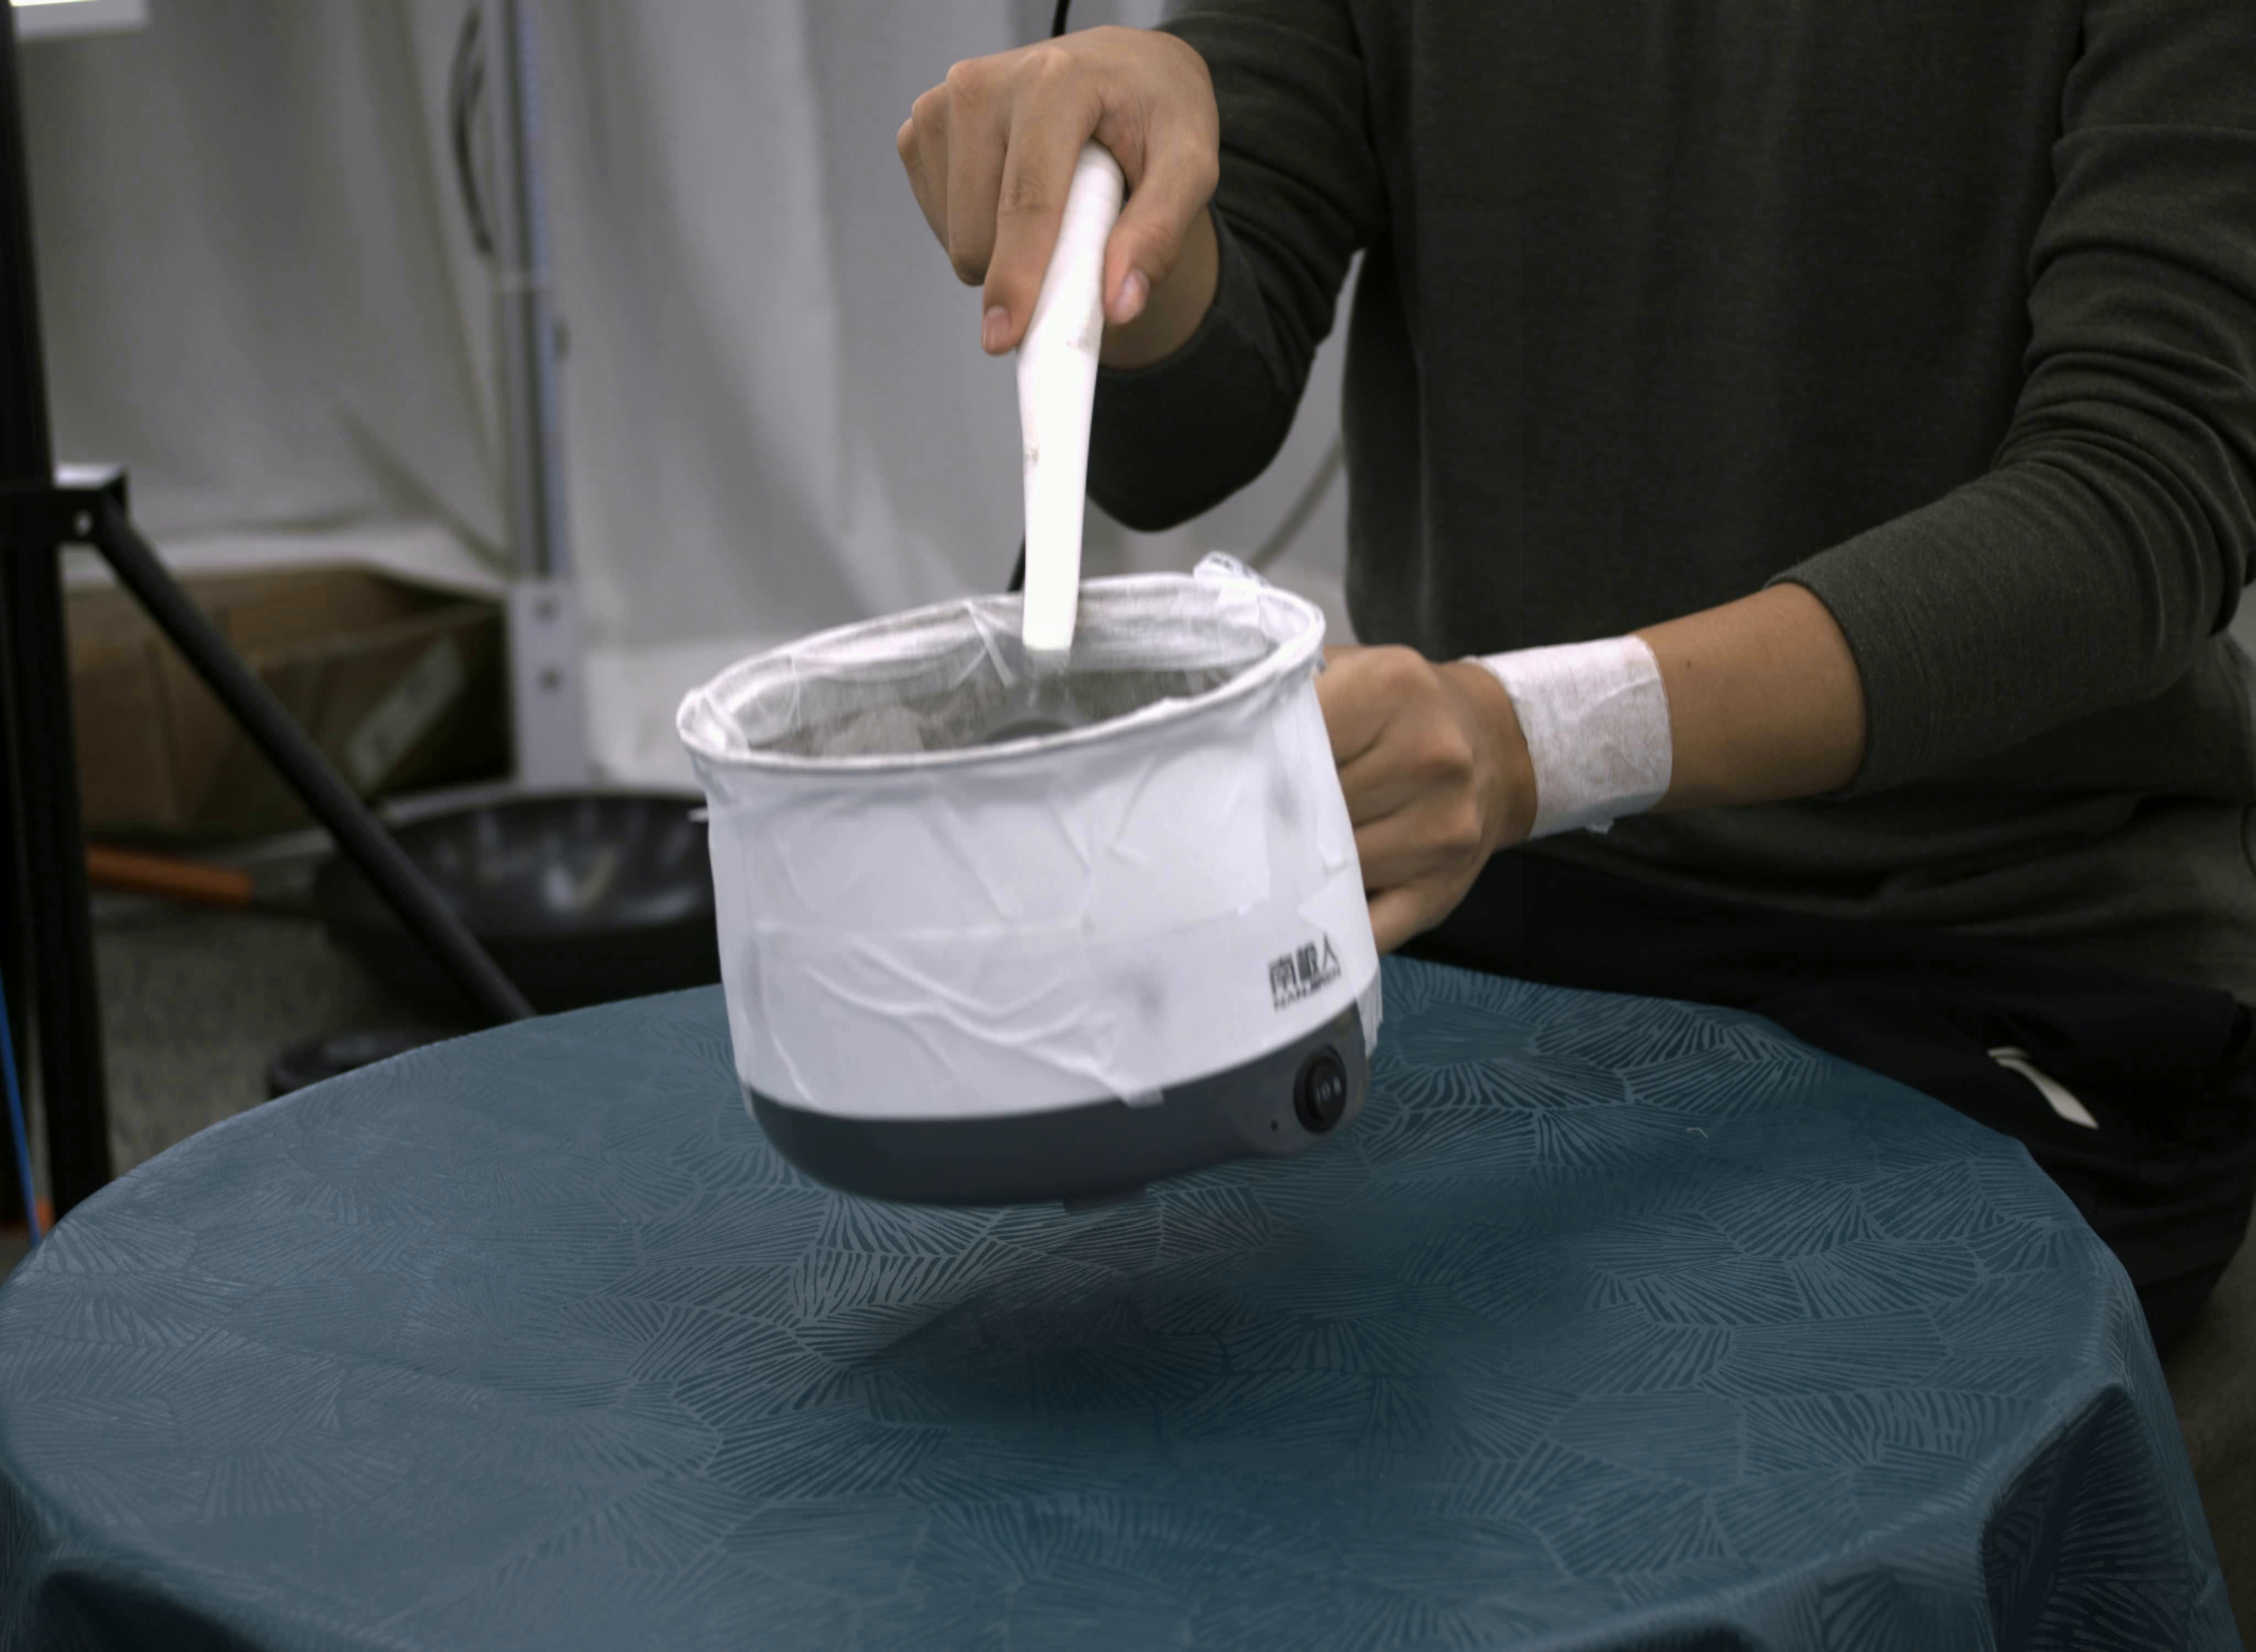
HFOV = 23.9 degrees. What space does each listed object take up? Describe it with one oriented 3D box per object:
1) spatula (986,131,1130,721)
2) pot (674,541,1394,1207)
[{"bbox_3d":[-0.025,-0.084,1.493,0.059,0.032,0.290,-7,49,15],"label":"spatula"},{"bbox_3d":[-0.009,0.007,1.452,0.182,0.136,0.229,3,19,38],"label":"pot"}]
